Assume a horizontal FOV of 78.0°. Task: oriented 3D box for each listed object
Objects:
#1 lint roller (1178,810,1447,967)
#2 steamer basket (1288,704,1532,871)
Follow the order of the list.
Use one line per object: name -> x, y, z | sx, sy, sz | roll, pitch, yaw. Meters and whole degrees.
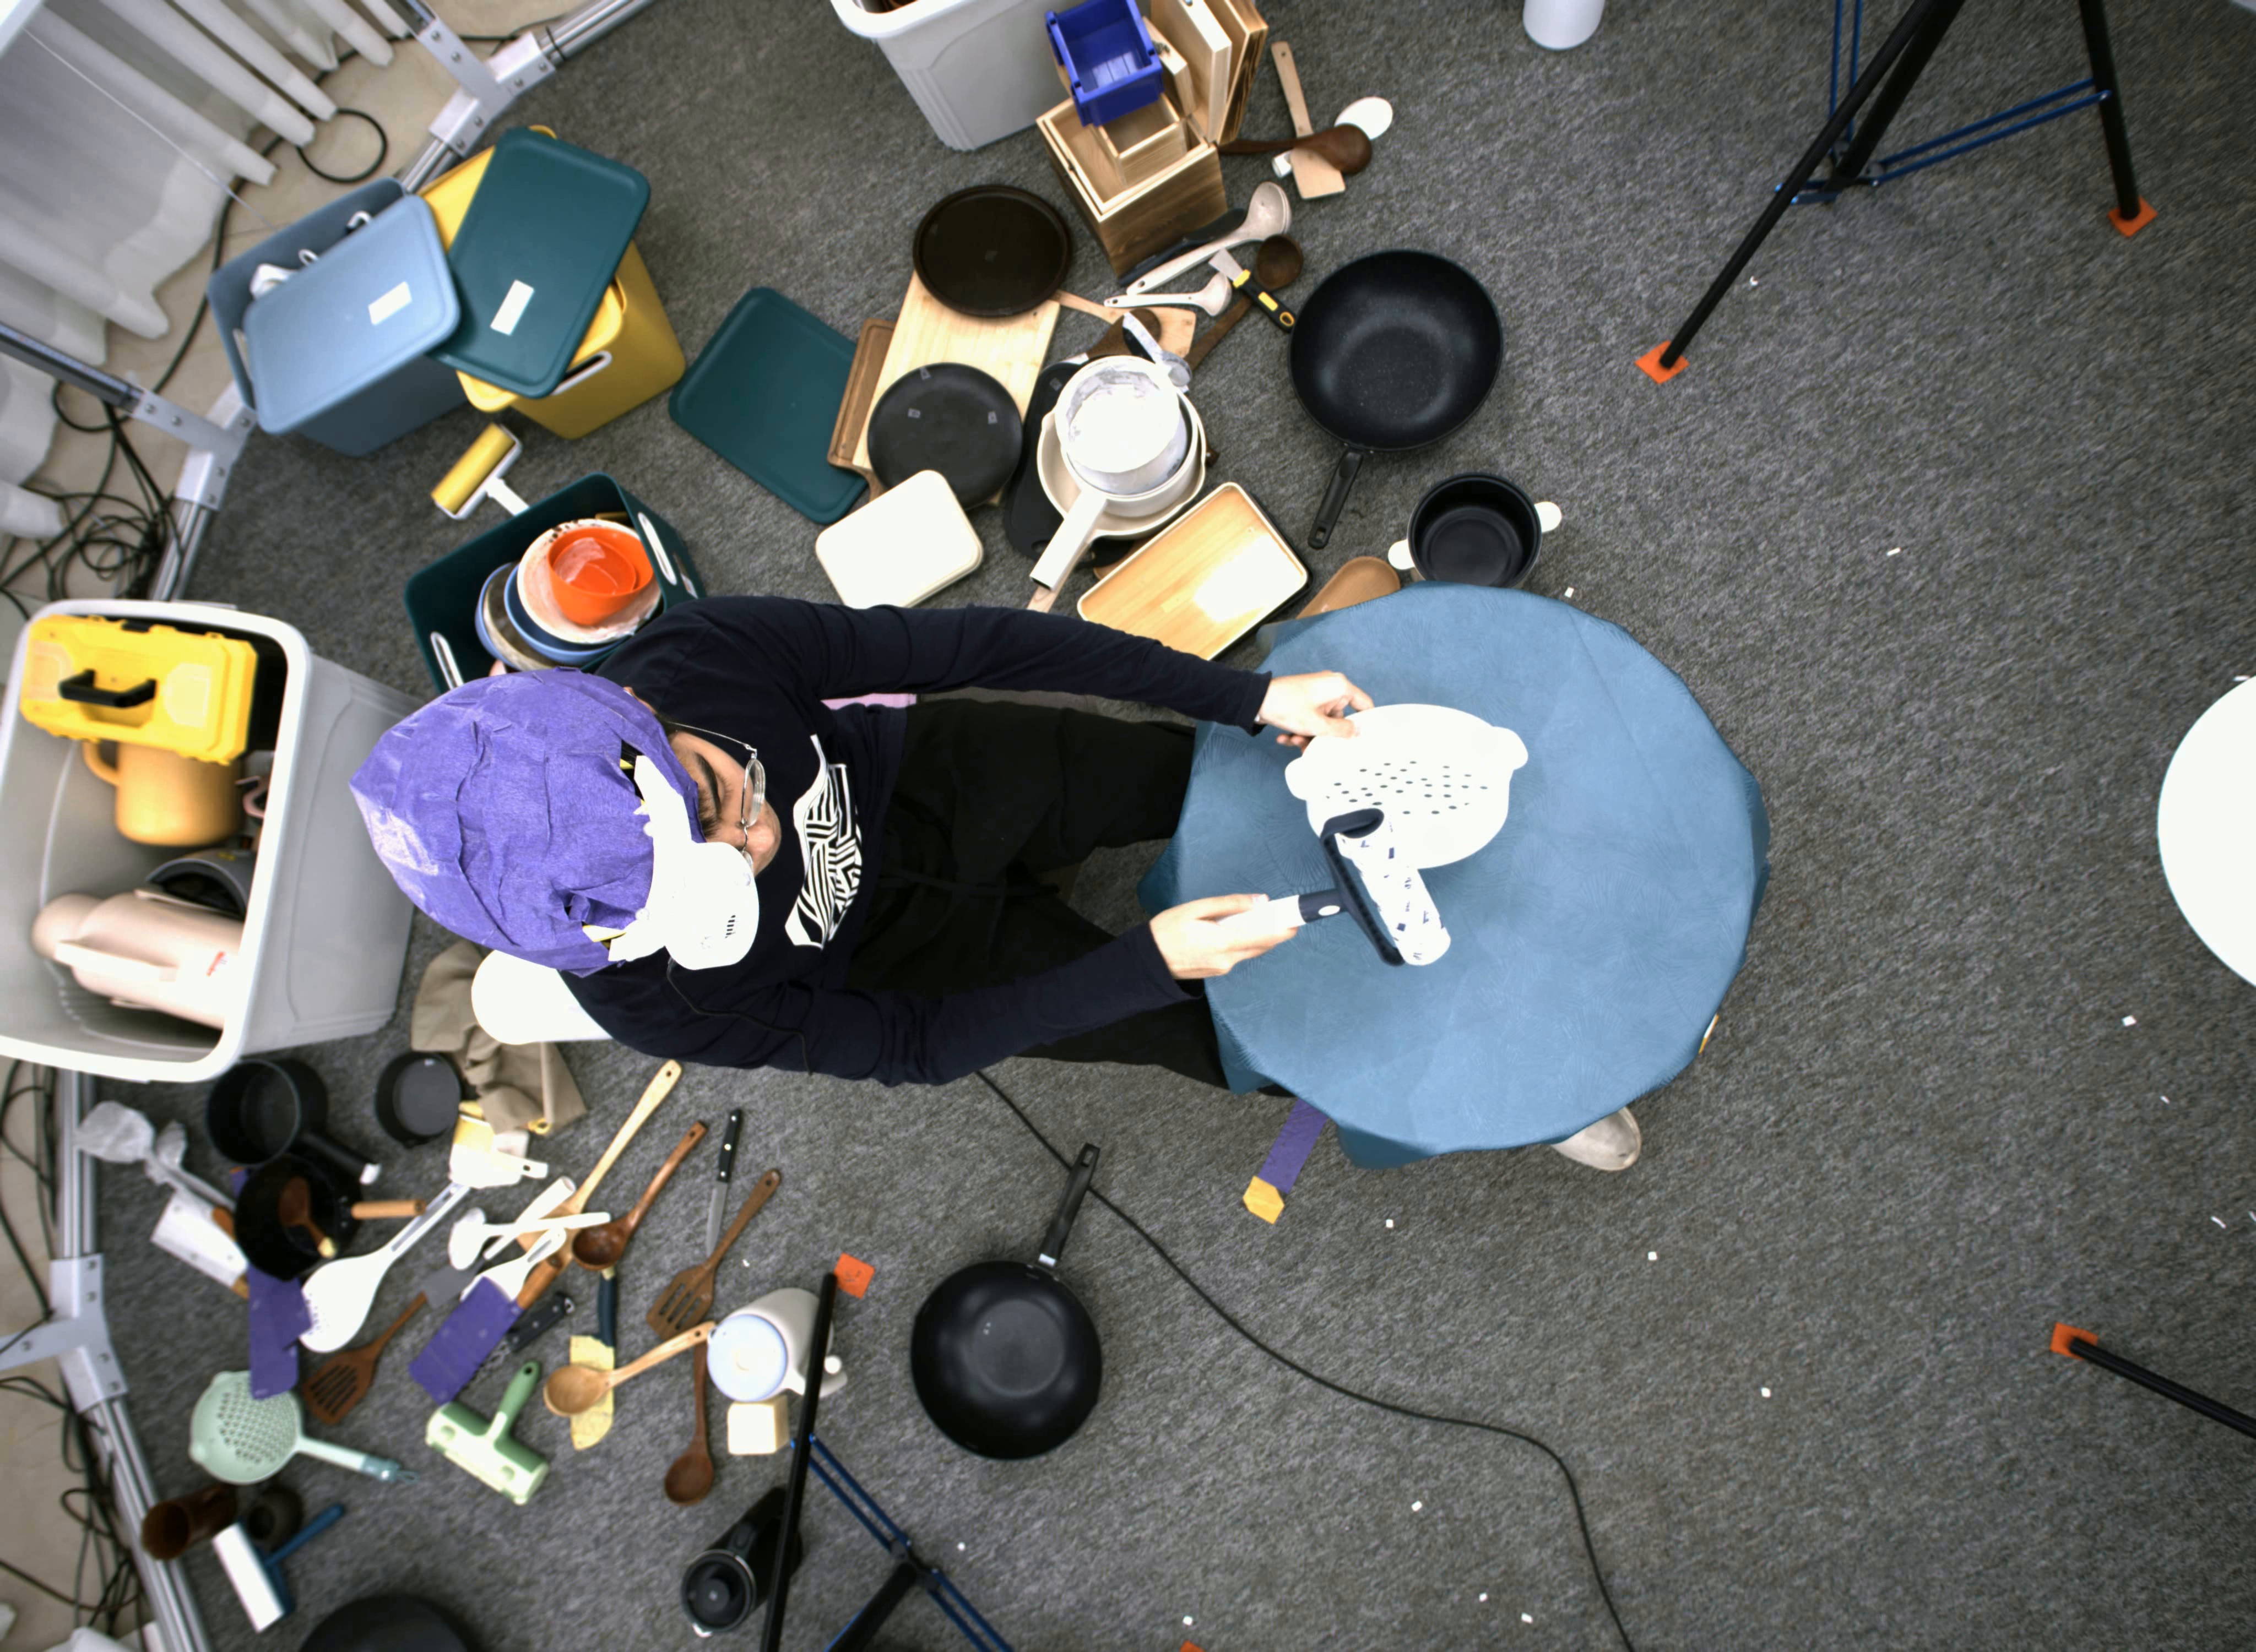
lint roller -> 0.157, 0.084, 1.307 | 0.250, 0.049, 0.179 | -18, 125, 26
steamer basket -> 0.273, -0.040, 1.331 | 0.231, 0.197, 0.071 | -9, 127, 2
